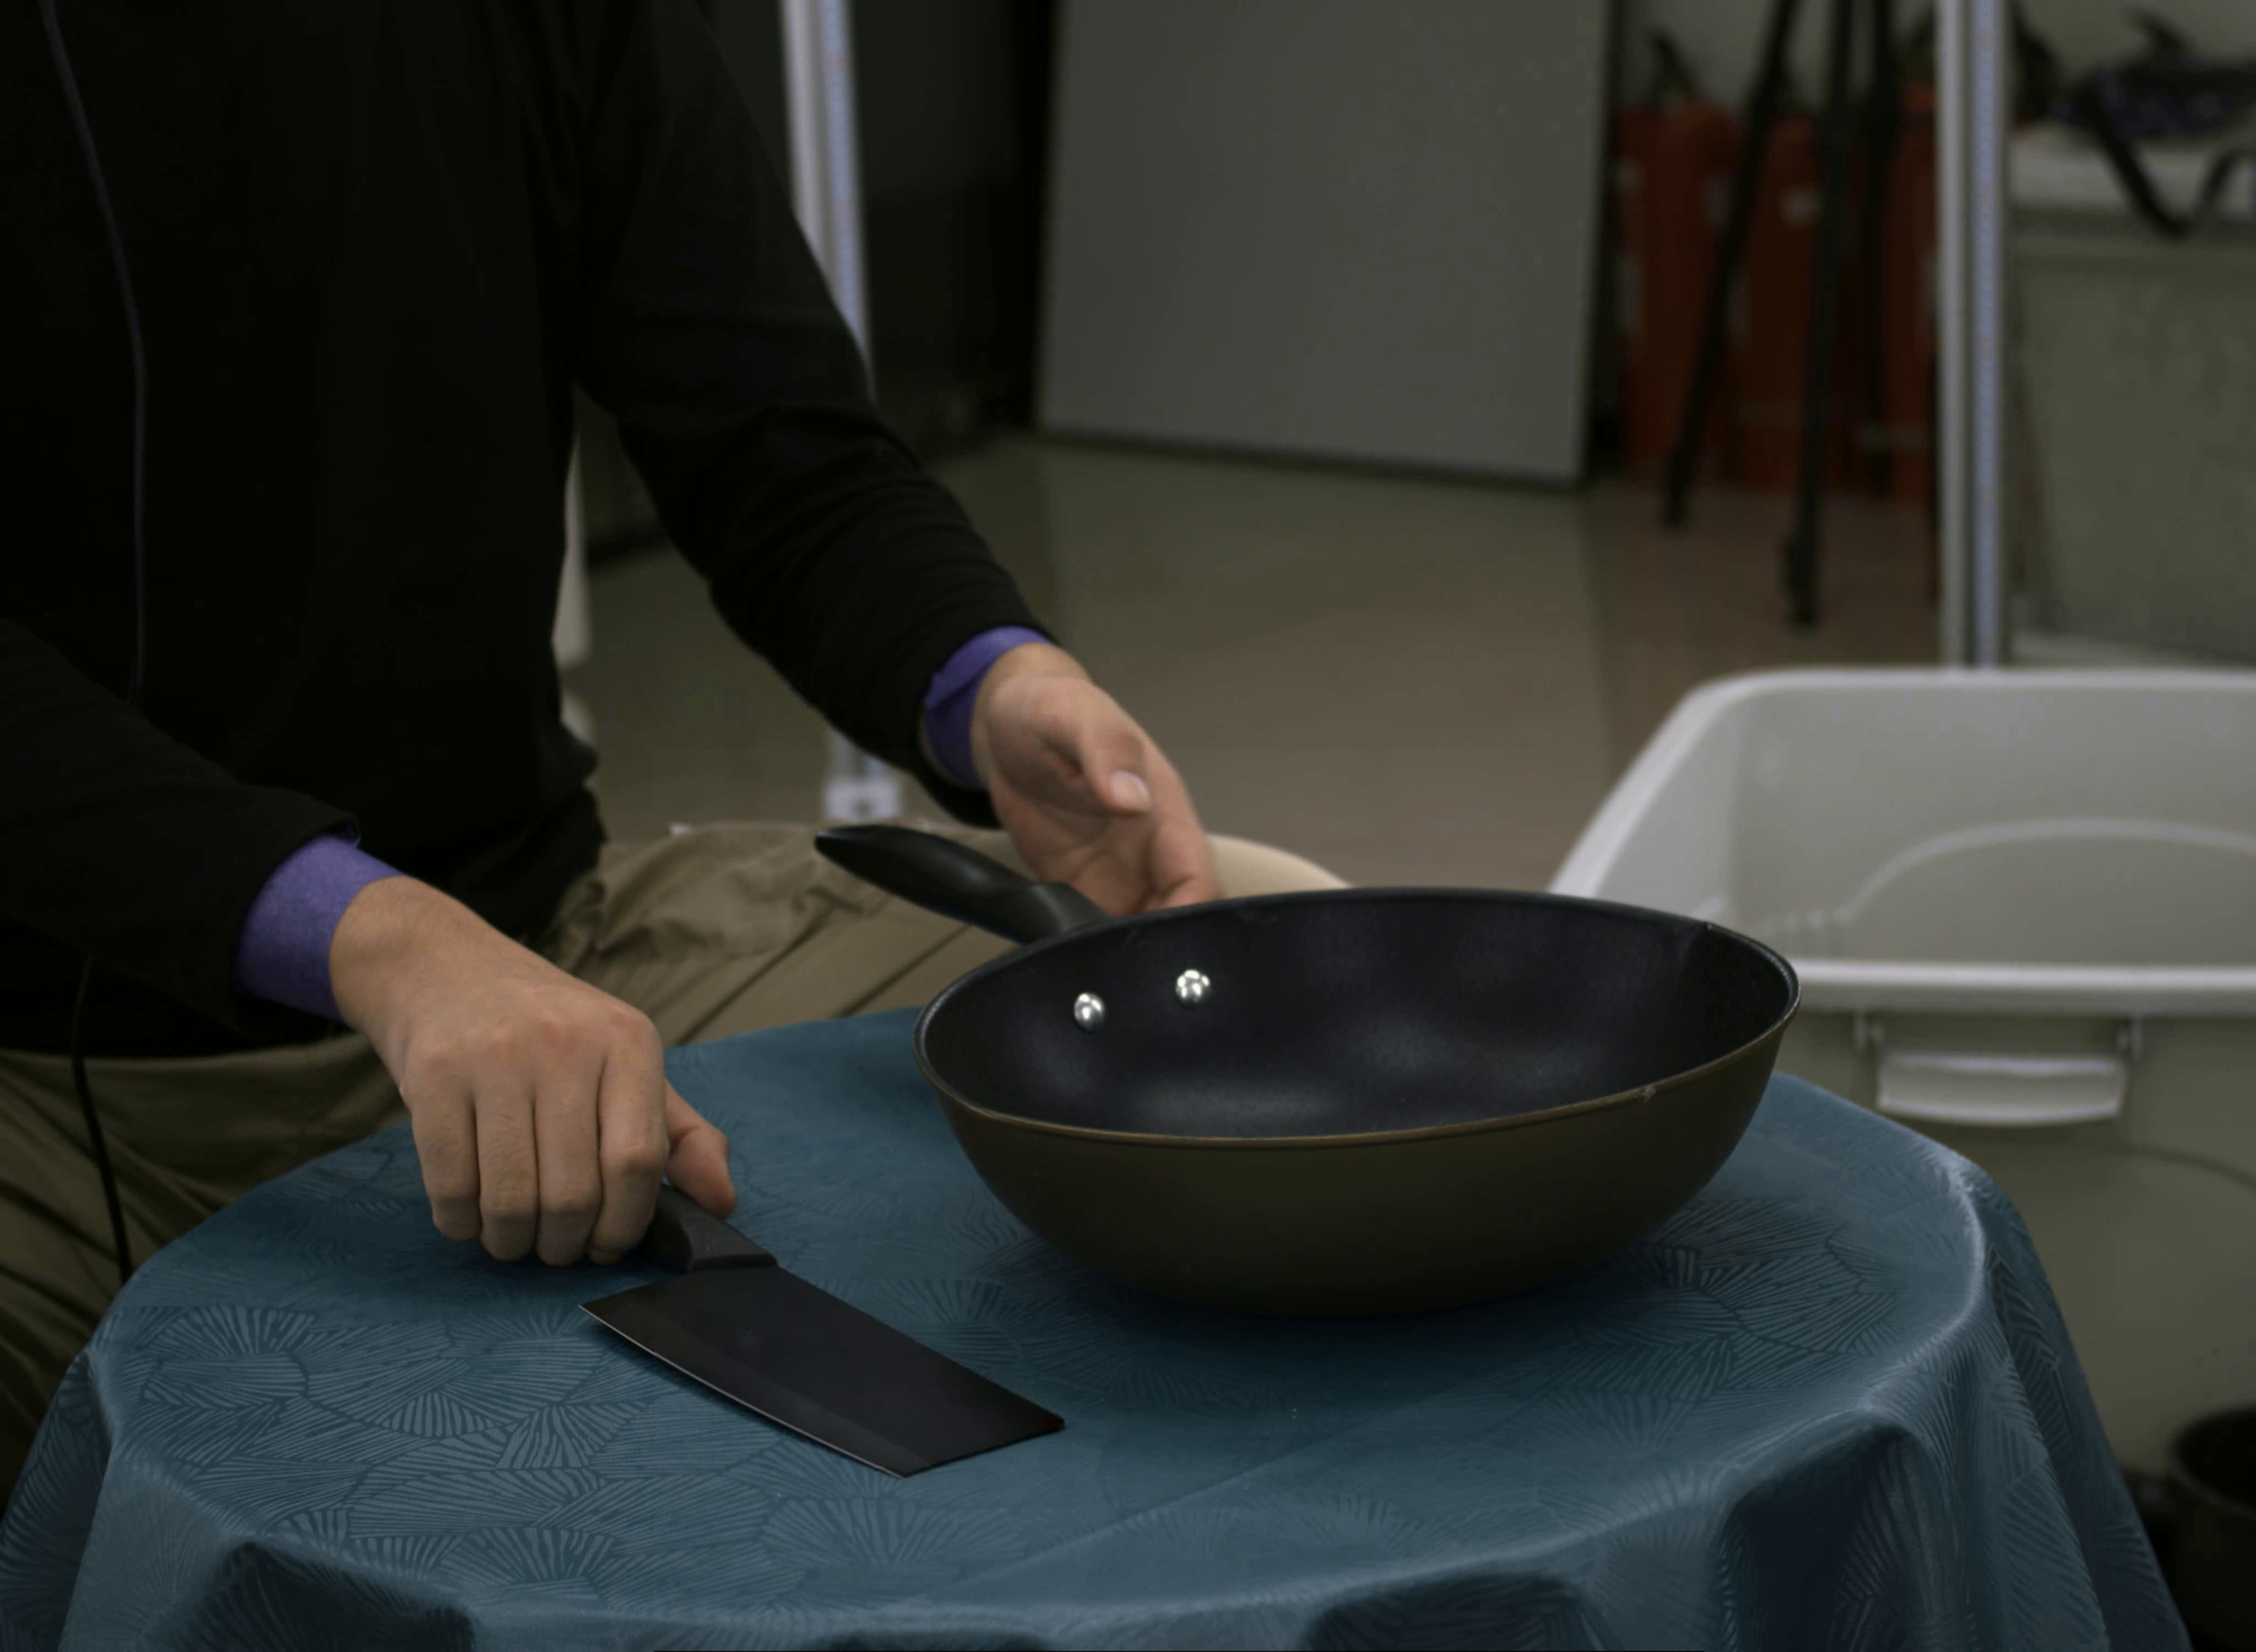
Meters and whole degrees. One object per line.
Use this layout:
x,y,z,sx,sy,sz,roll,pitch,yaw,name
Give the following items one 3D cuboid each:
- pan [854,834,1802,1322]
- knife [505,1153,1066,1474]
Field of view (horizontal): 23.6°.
0.025,0.078,1.770,0.282,0.088,0.468,-12,15,-30,pan
-0.121,0.149,1.670,0.079,0.021,0.305,-11,17,-27,knife
